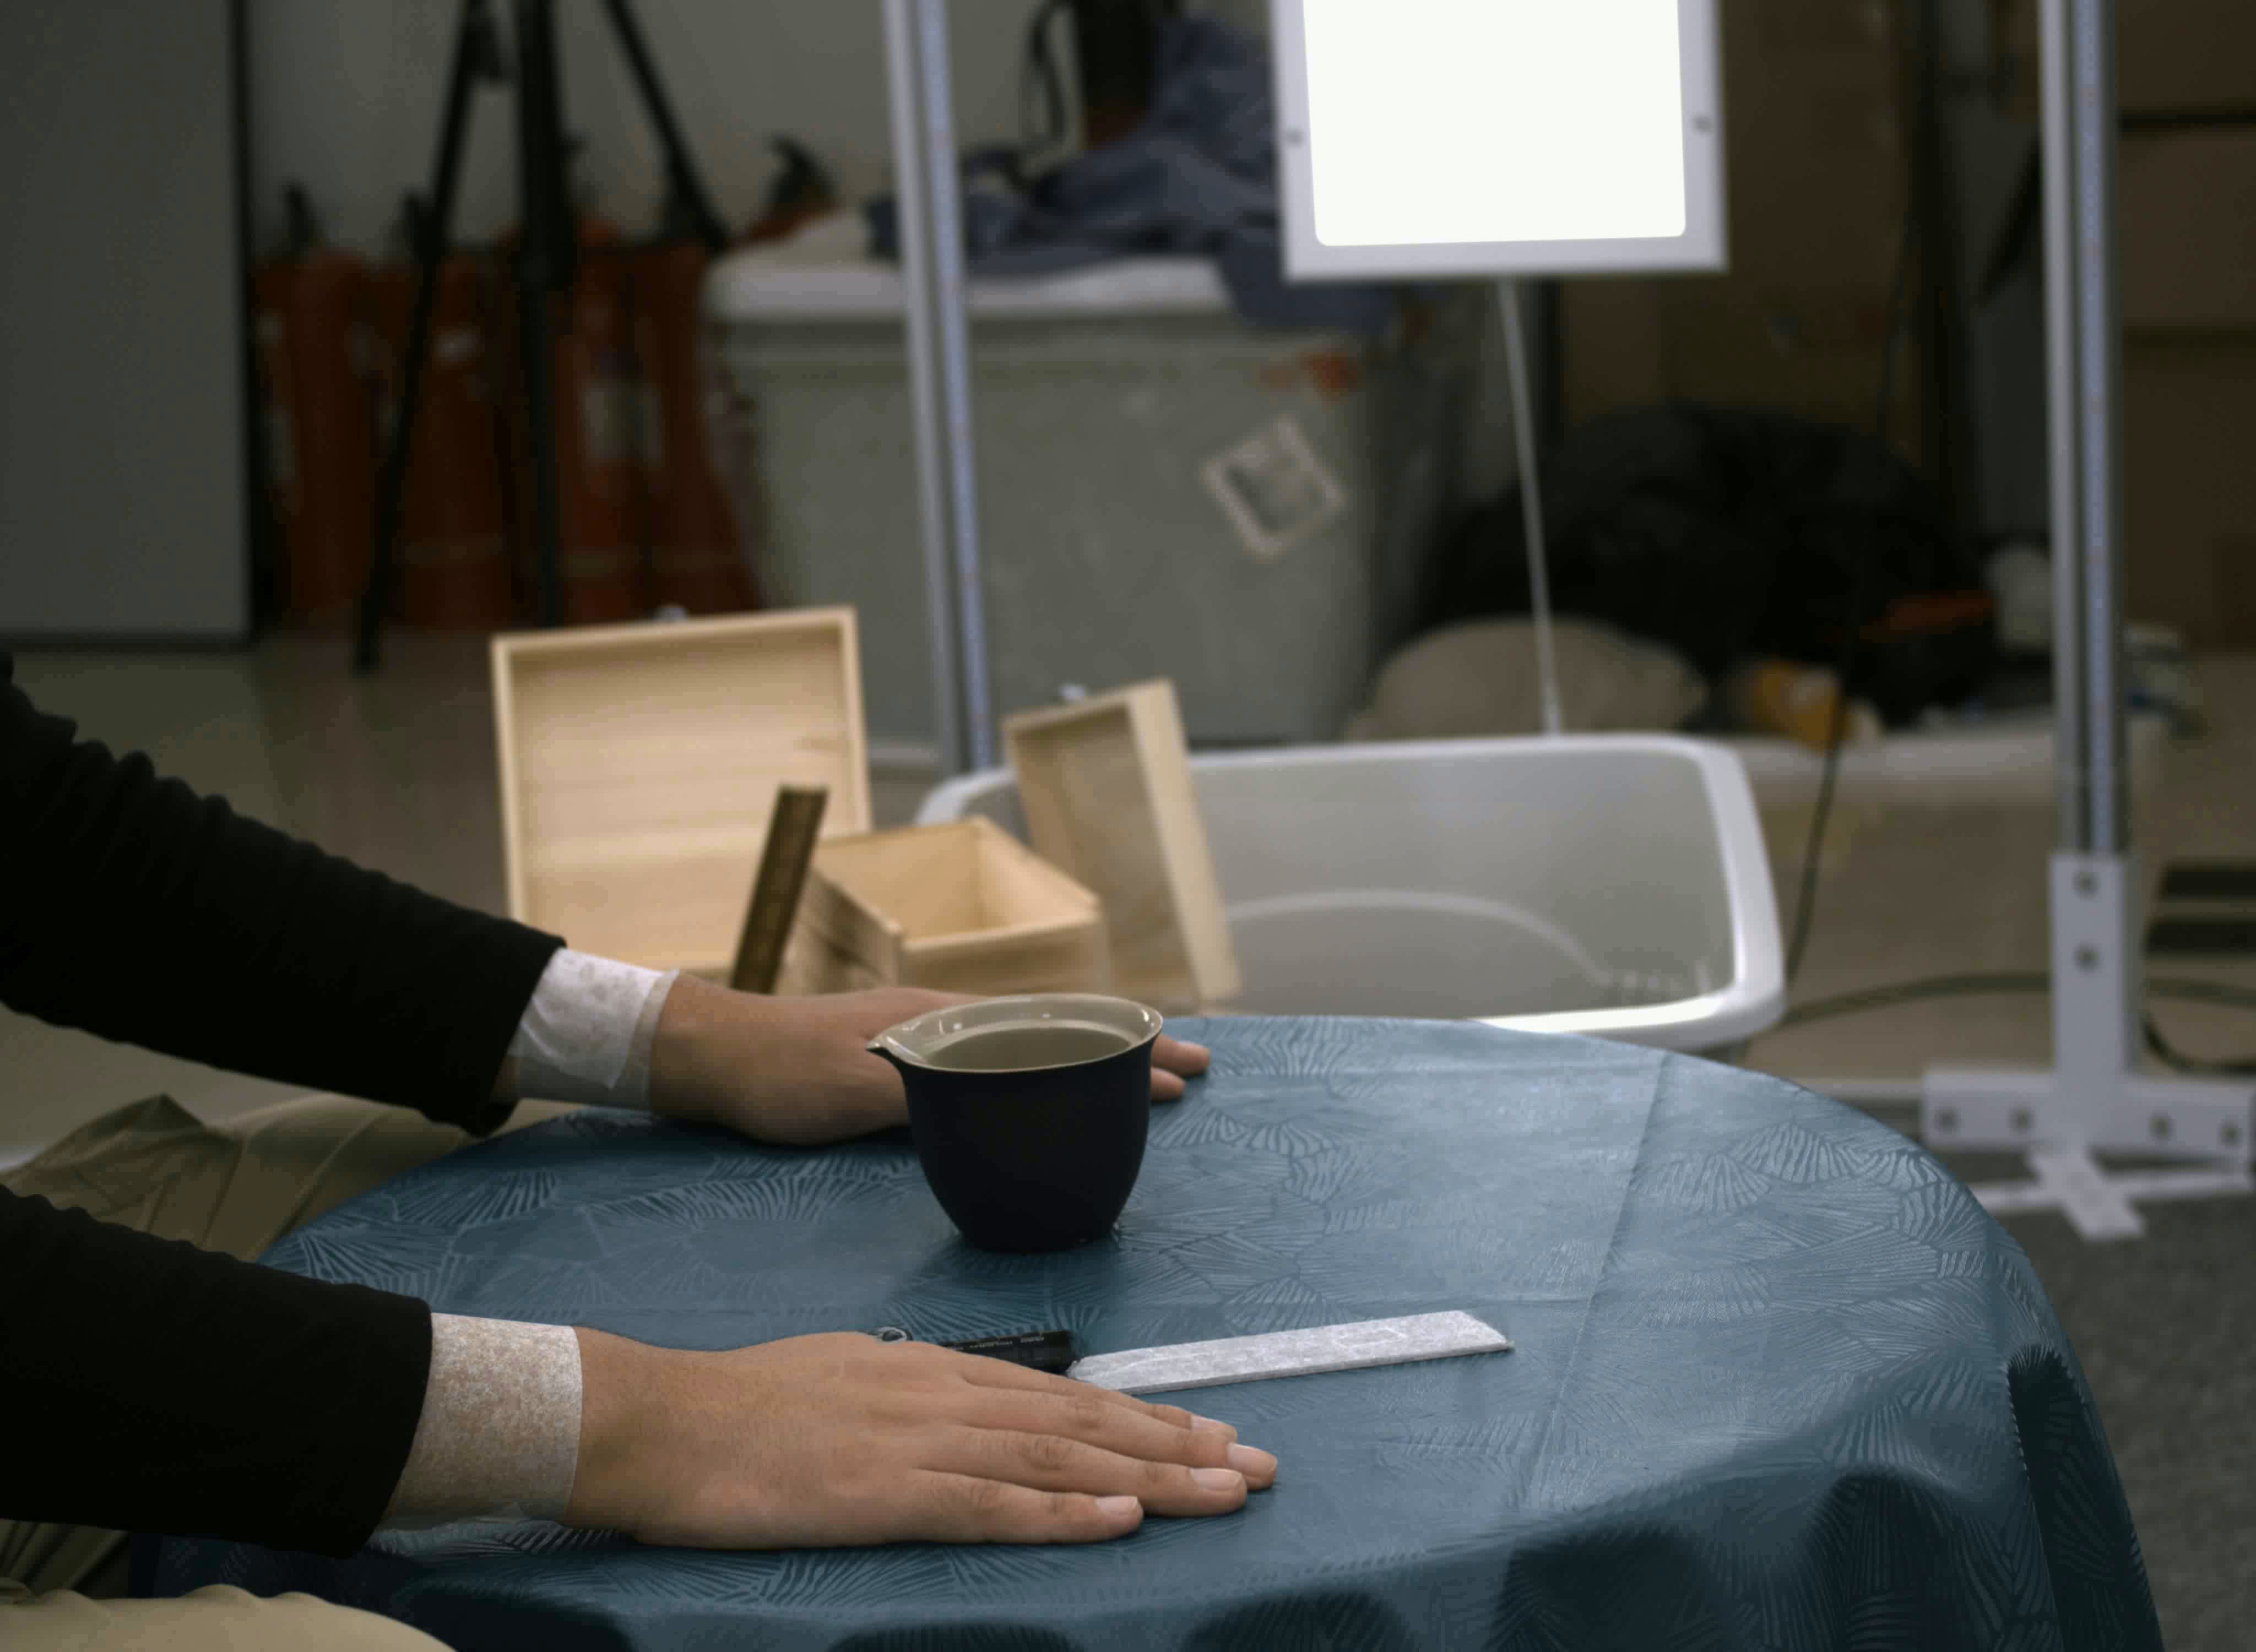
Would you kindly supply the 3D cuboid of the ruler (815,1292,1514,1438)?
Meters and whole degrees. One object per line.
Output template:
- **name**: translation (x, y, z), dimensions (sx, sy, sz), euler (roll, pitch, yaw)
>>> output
- **ruler**: translation (0.011, 0.160, 1.711), dimensions (0.217, 0.024, 0.038), euler (-7, 21, -4)

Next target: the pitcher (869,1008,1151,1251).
- **pitcher**: translation (-0.038, 0.102, 1.858), dimensions (0.096, 0.071, 0.083), euler (-1, 15, 11)
